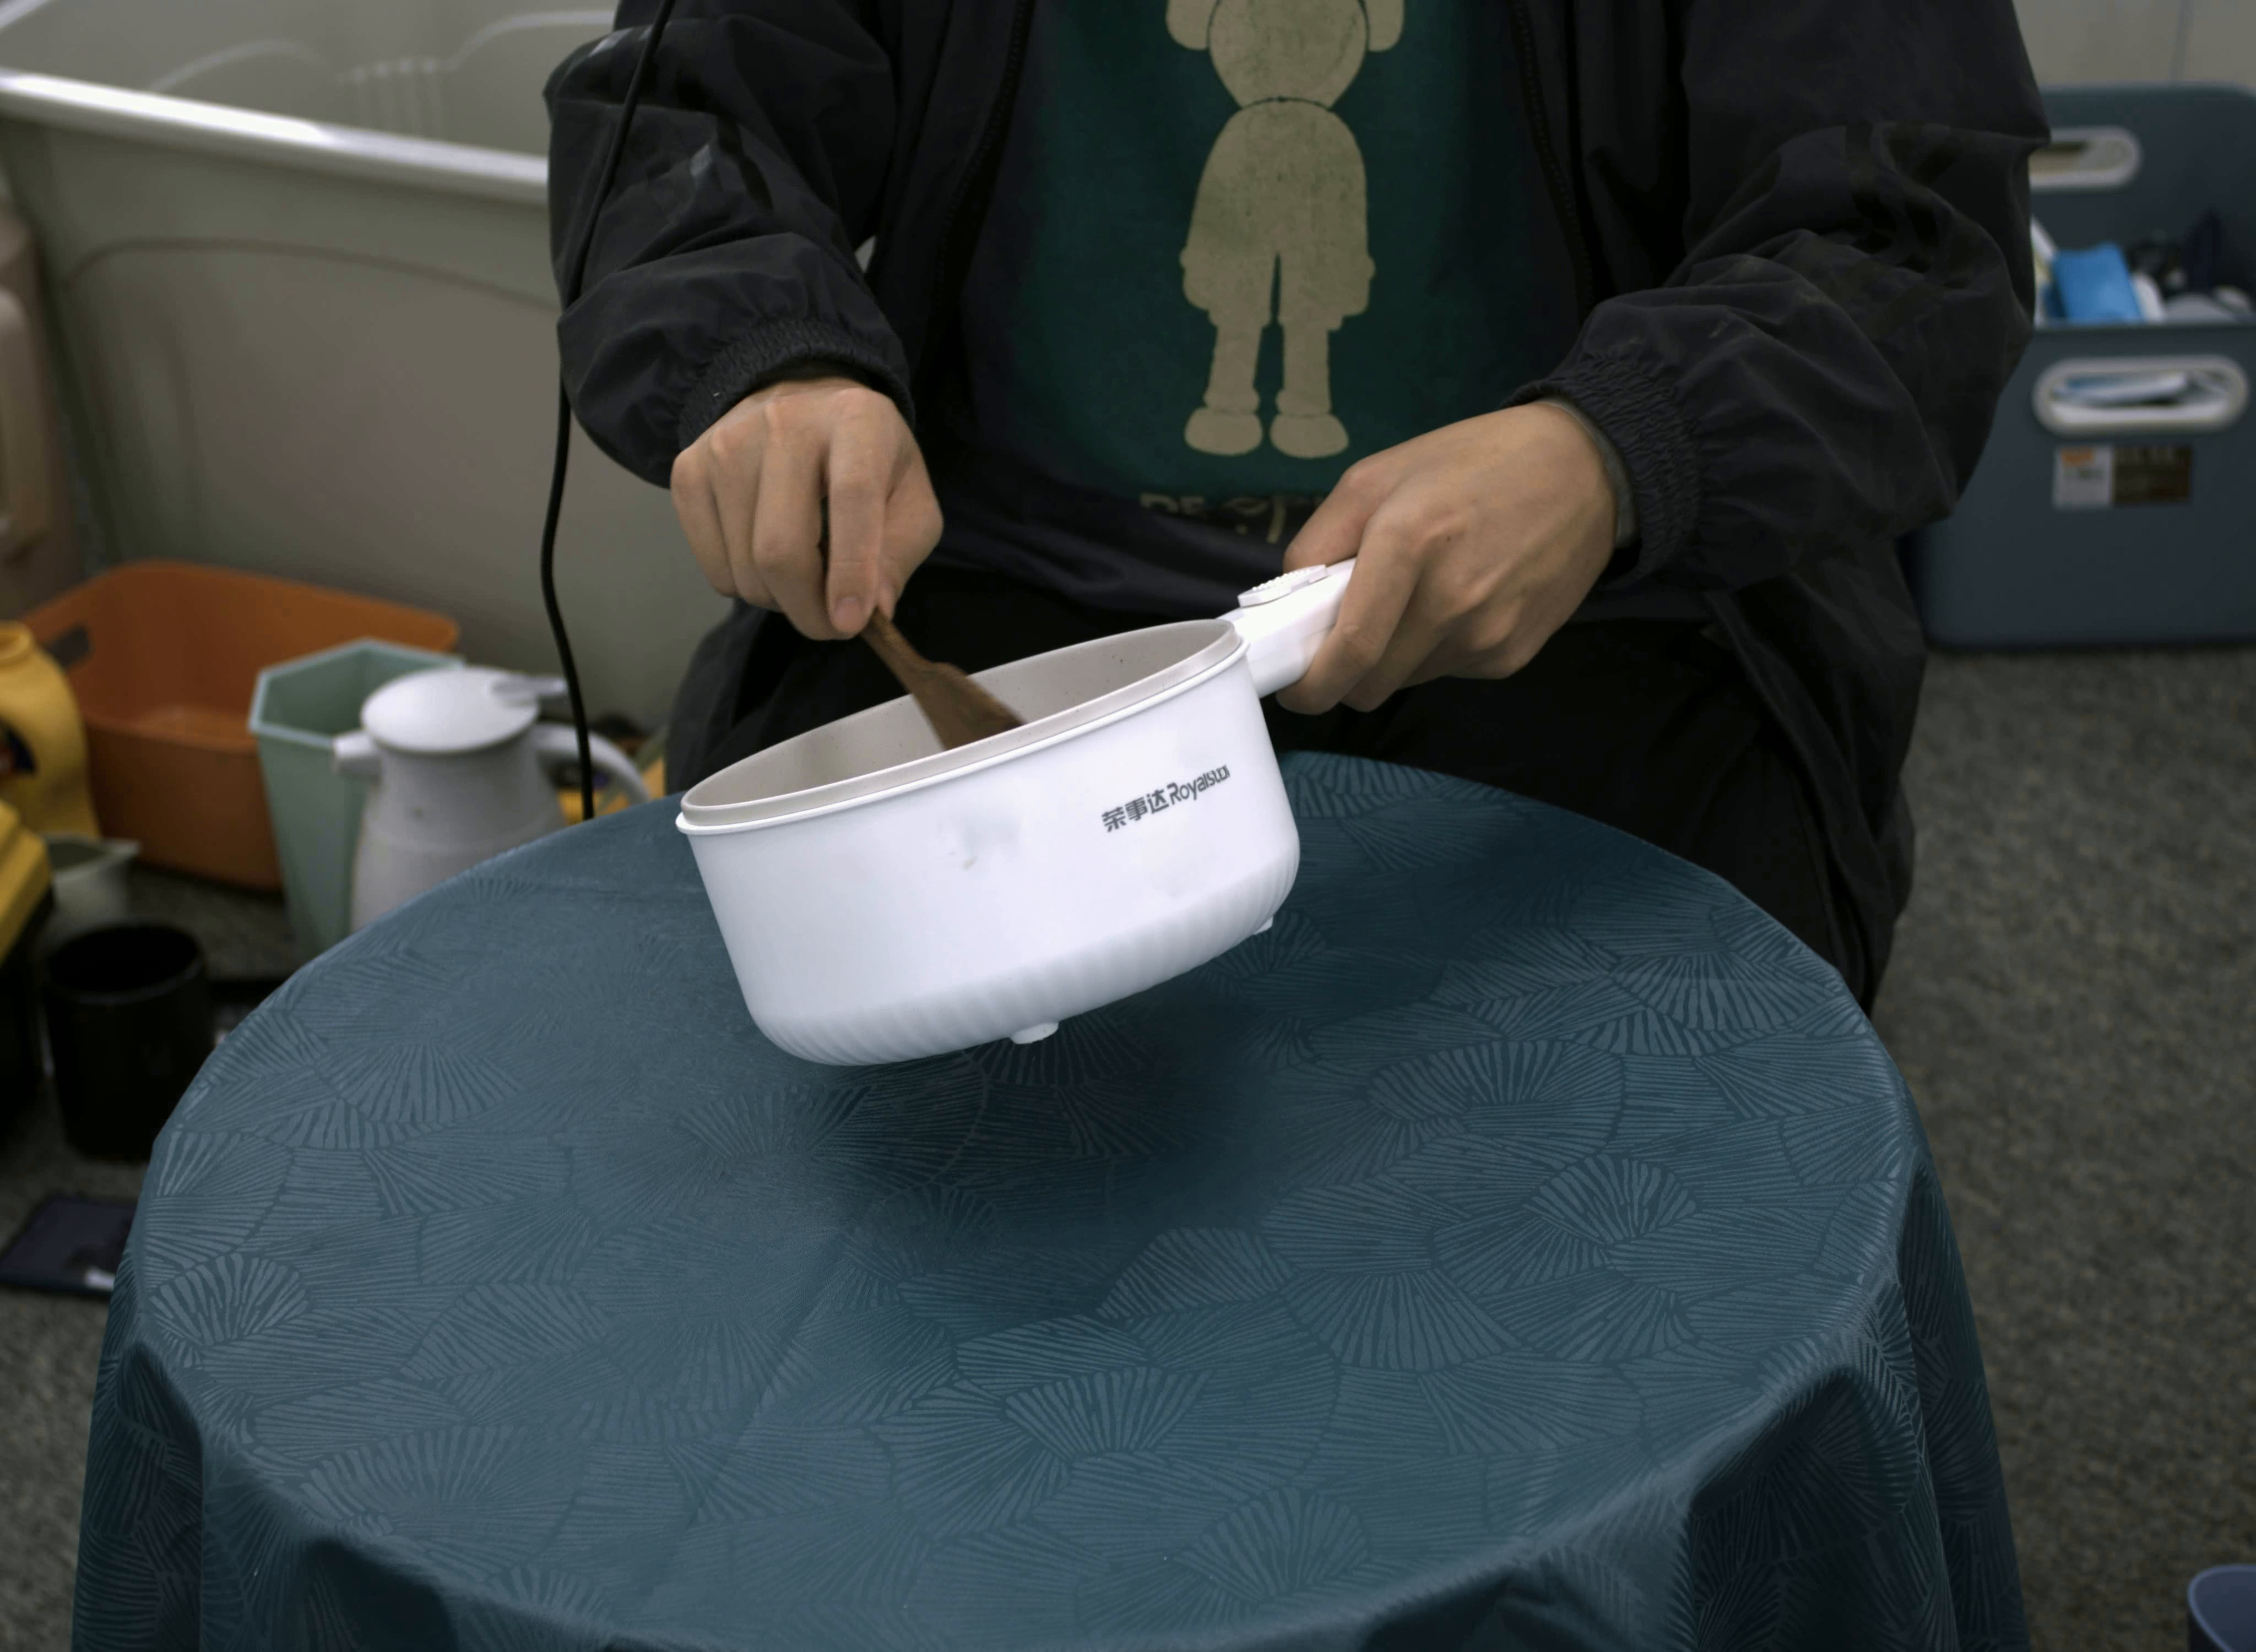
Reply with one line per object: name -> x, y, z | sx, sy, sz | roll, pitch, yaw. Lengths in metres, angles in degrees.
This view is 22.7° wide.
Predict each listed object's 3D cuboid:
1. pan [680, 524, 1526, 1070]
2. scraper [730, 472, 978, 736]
pan -> 0.013, -0.011, 1.929 | 0.359, 0.102, 0.199 | -22, 7, -41
scraper -> -0.089, -0.063, 1.907 | 0.011, 0.075, 0.213 | -31, 41, -10
